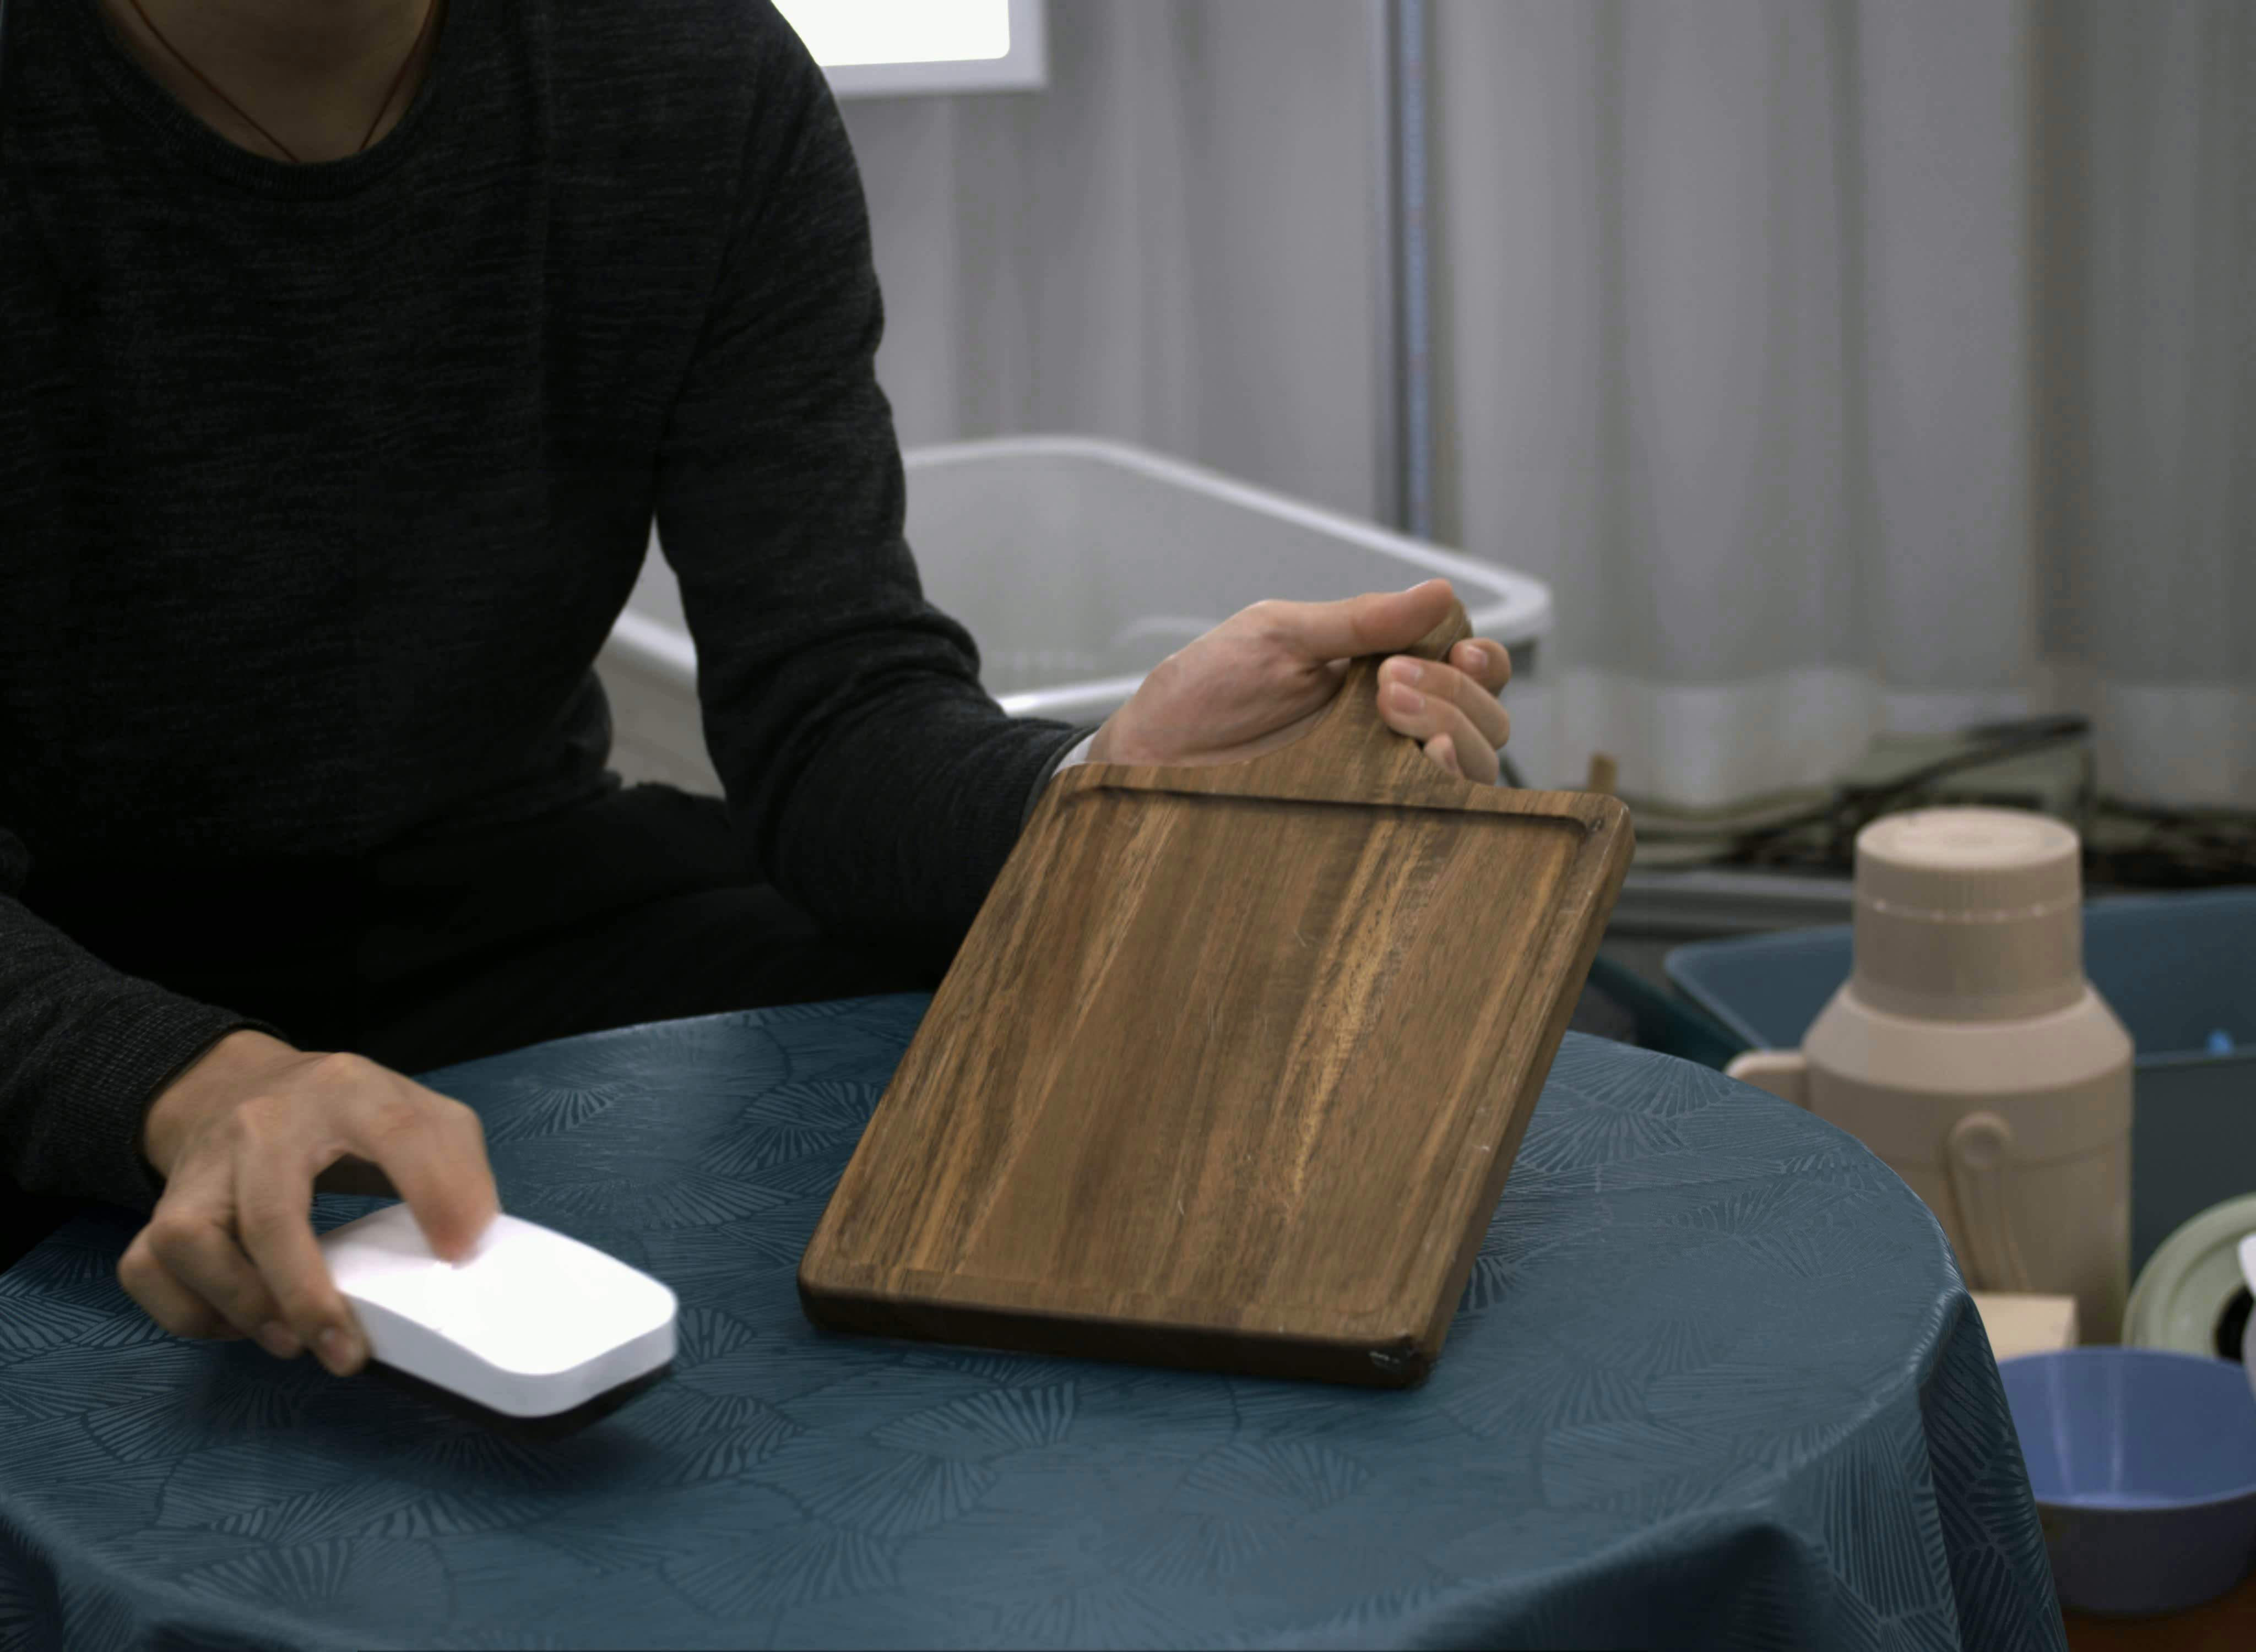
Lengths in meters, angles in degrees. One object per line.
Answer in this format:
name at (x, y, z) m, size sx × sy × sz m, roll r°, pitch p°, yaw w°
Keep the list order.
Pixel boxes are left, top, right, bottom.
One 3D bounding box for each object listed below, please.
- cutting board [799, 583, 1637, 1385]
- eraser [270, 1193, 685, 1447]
cutting board at (0.046, 0.037, 1.688) m, size 0.201 × 0.023 × 0.356 m, roll 3°, pitch 39°, yaw 21°
eraser at (-0.181, 0.135, 1.535) m, size 0.063 × 0.034 × 0.132 m, roll -23°, pitch 28°, yaw -38°
